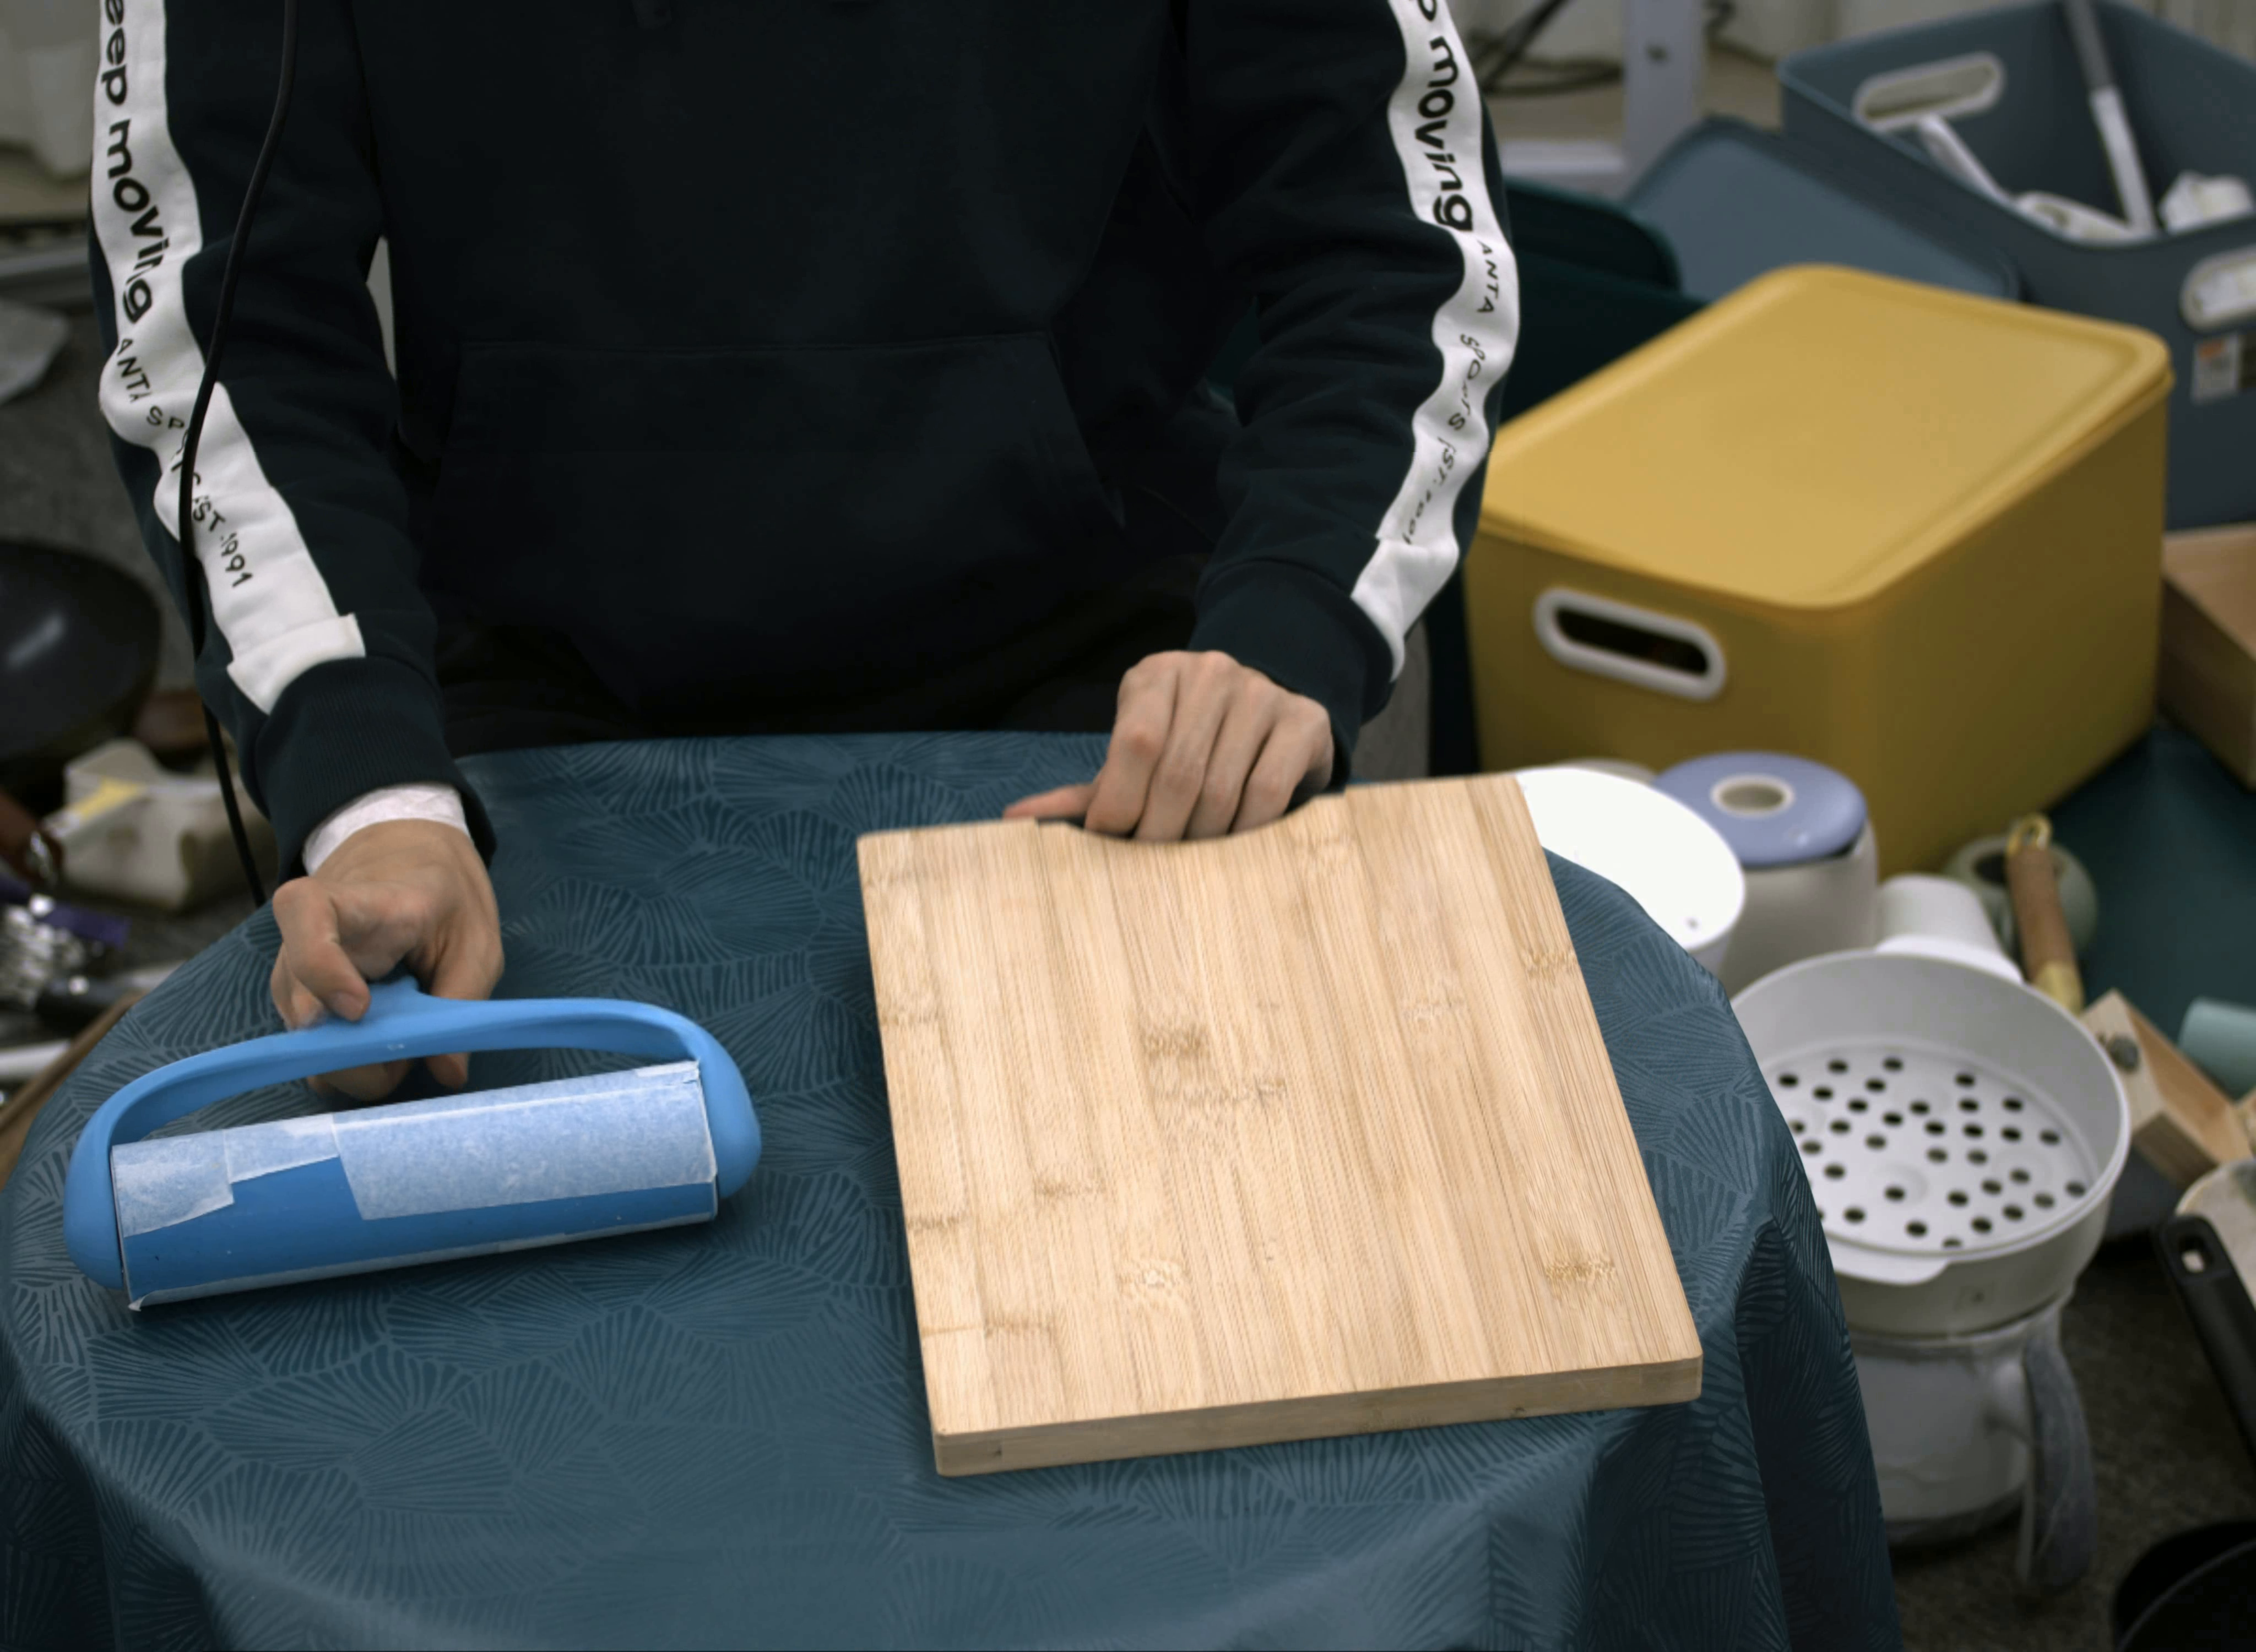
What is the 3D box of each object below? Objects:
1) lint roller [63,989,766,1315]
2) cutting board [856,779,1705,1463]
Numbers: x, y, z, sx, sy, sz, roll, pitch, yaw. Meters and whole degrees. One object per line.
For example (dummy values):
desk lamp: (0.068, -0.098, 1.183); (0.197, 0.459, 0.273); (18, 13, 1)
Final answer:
lint roller: (-0.246, 0.090, 1.883); (0.229, 0.067, 0.182); (-10, 29, -11)
cutting board: (0.040, 0.092, 1.872); (0.250, 0.023, 0.354); (-5, 32, -5)
